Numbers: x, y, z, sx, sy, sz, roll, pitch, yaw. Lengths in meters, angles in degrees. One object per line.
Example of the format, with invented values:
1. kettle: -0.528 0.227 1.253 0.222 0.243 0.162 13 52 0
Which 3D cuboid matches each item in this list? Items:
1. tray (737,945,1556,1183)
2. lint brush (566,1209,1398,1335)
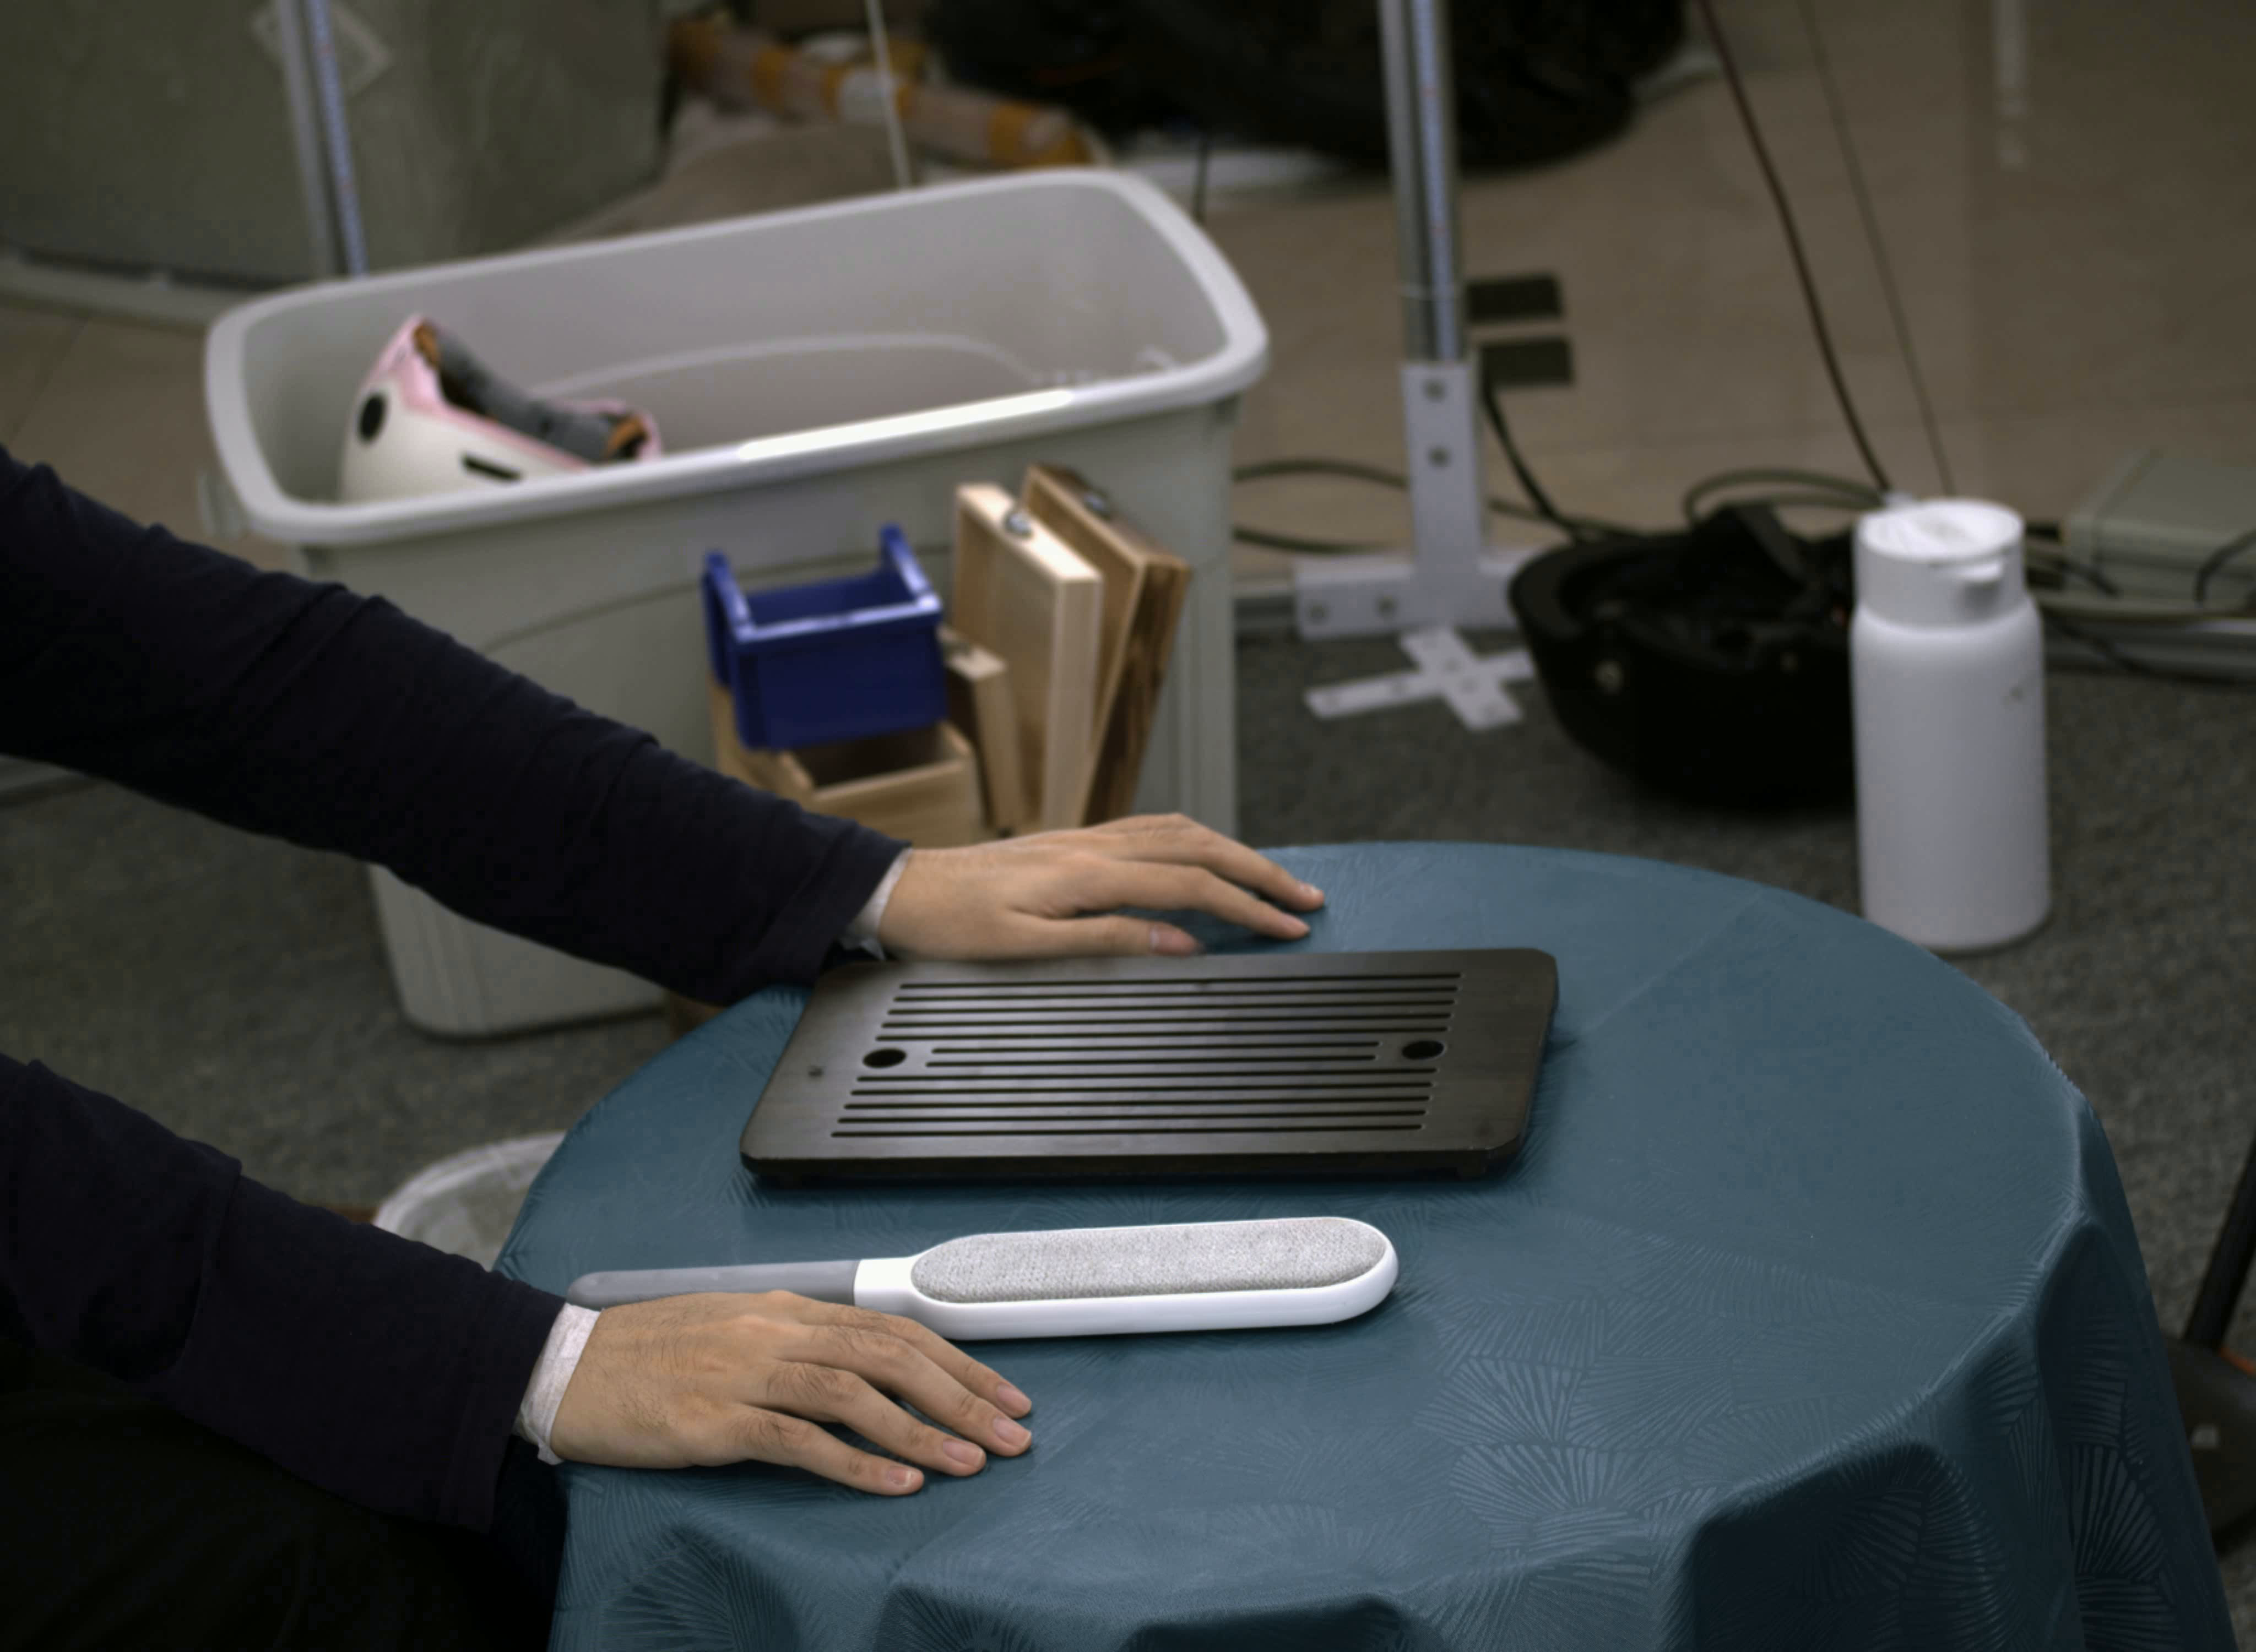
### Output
1. tray: 0.010 0.094 2.225 0.305 0.019 0.167 -2 25 11
2. lint brush: -0.055 0.165 2.077 0.308 0.021 0.059 -3 30 8
